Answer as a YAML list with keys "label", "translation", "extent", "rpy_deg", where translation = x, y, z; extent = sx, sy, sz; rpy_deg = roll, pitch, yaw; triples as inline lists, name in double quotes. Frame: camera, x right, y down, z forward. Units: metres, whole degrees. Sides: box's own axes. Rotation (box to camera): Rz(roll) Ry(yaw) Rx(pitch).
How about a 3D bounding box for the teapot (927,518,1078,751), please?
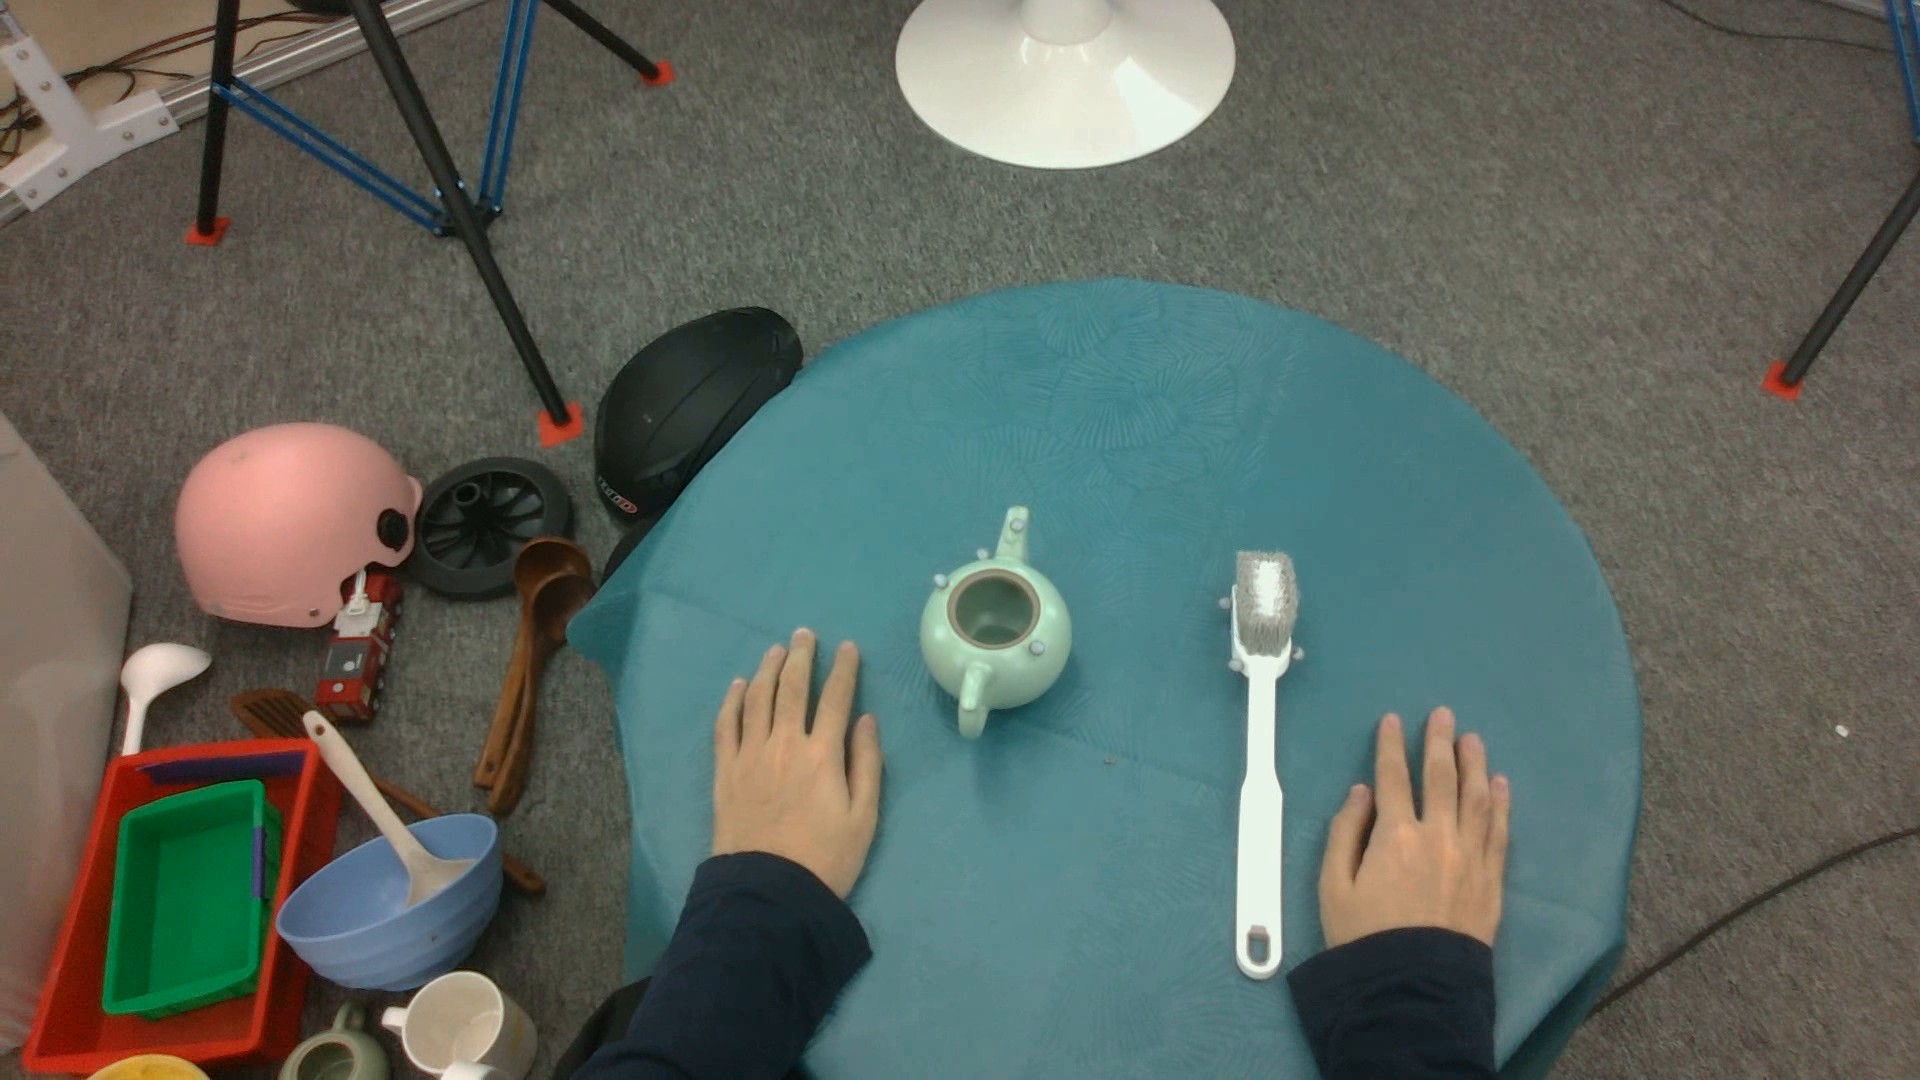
- label: "teapot"
  translation: [0.025, 0.062, 0.806]
  extent: [0.088, 0.074, 0.144]
  rpy_deg: [12, 56, 10]

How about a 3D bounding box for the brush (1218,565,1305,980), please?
- label: "brush"
  translation: [0.168, 0.119, 0.771]
  extent: [0.034, 0.050, 0.245]
  rpy_deg: [10, 56, 4]
